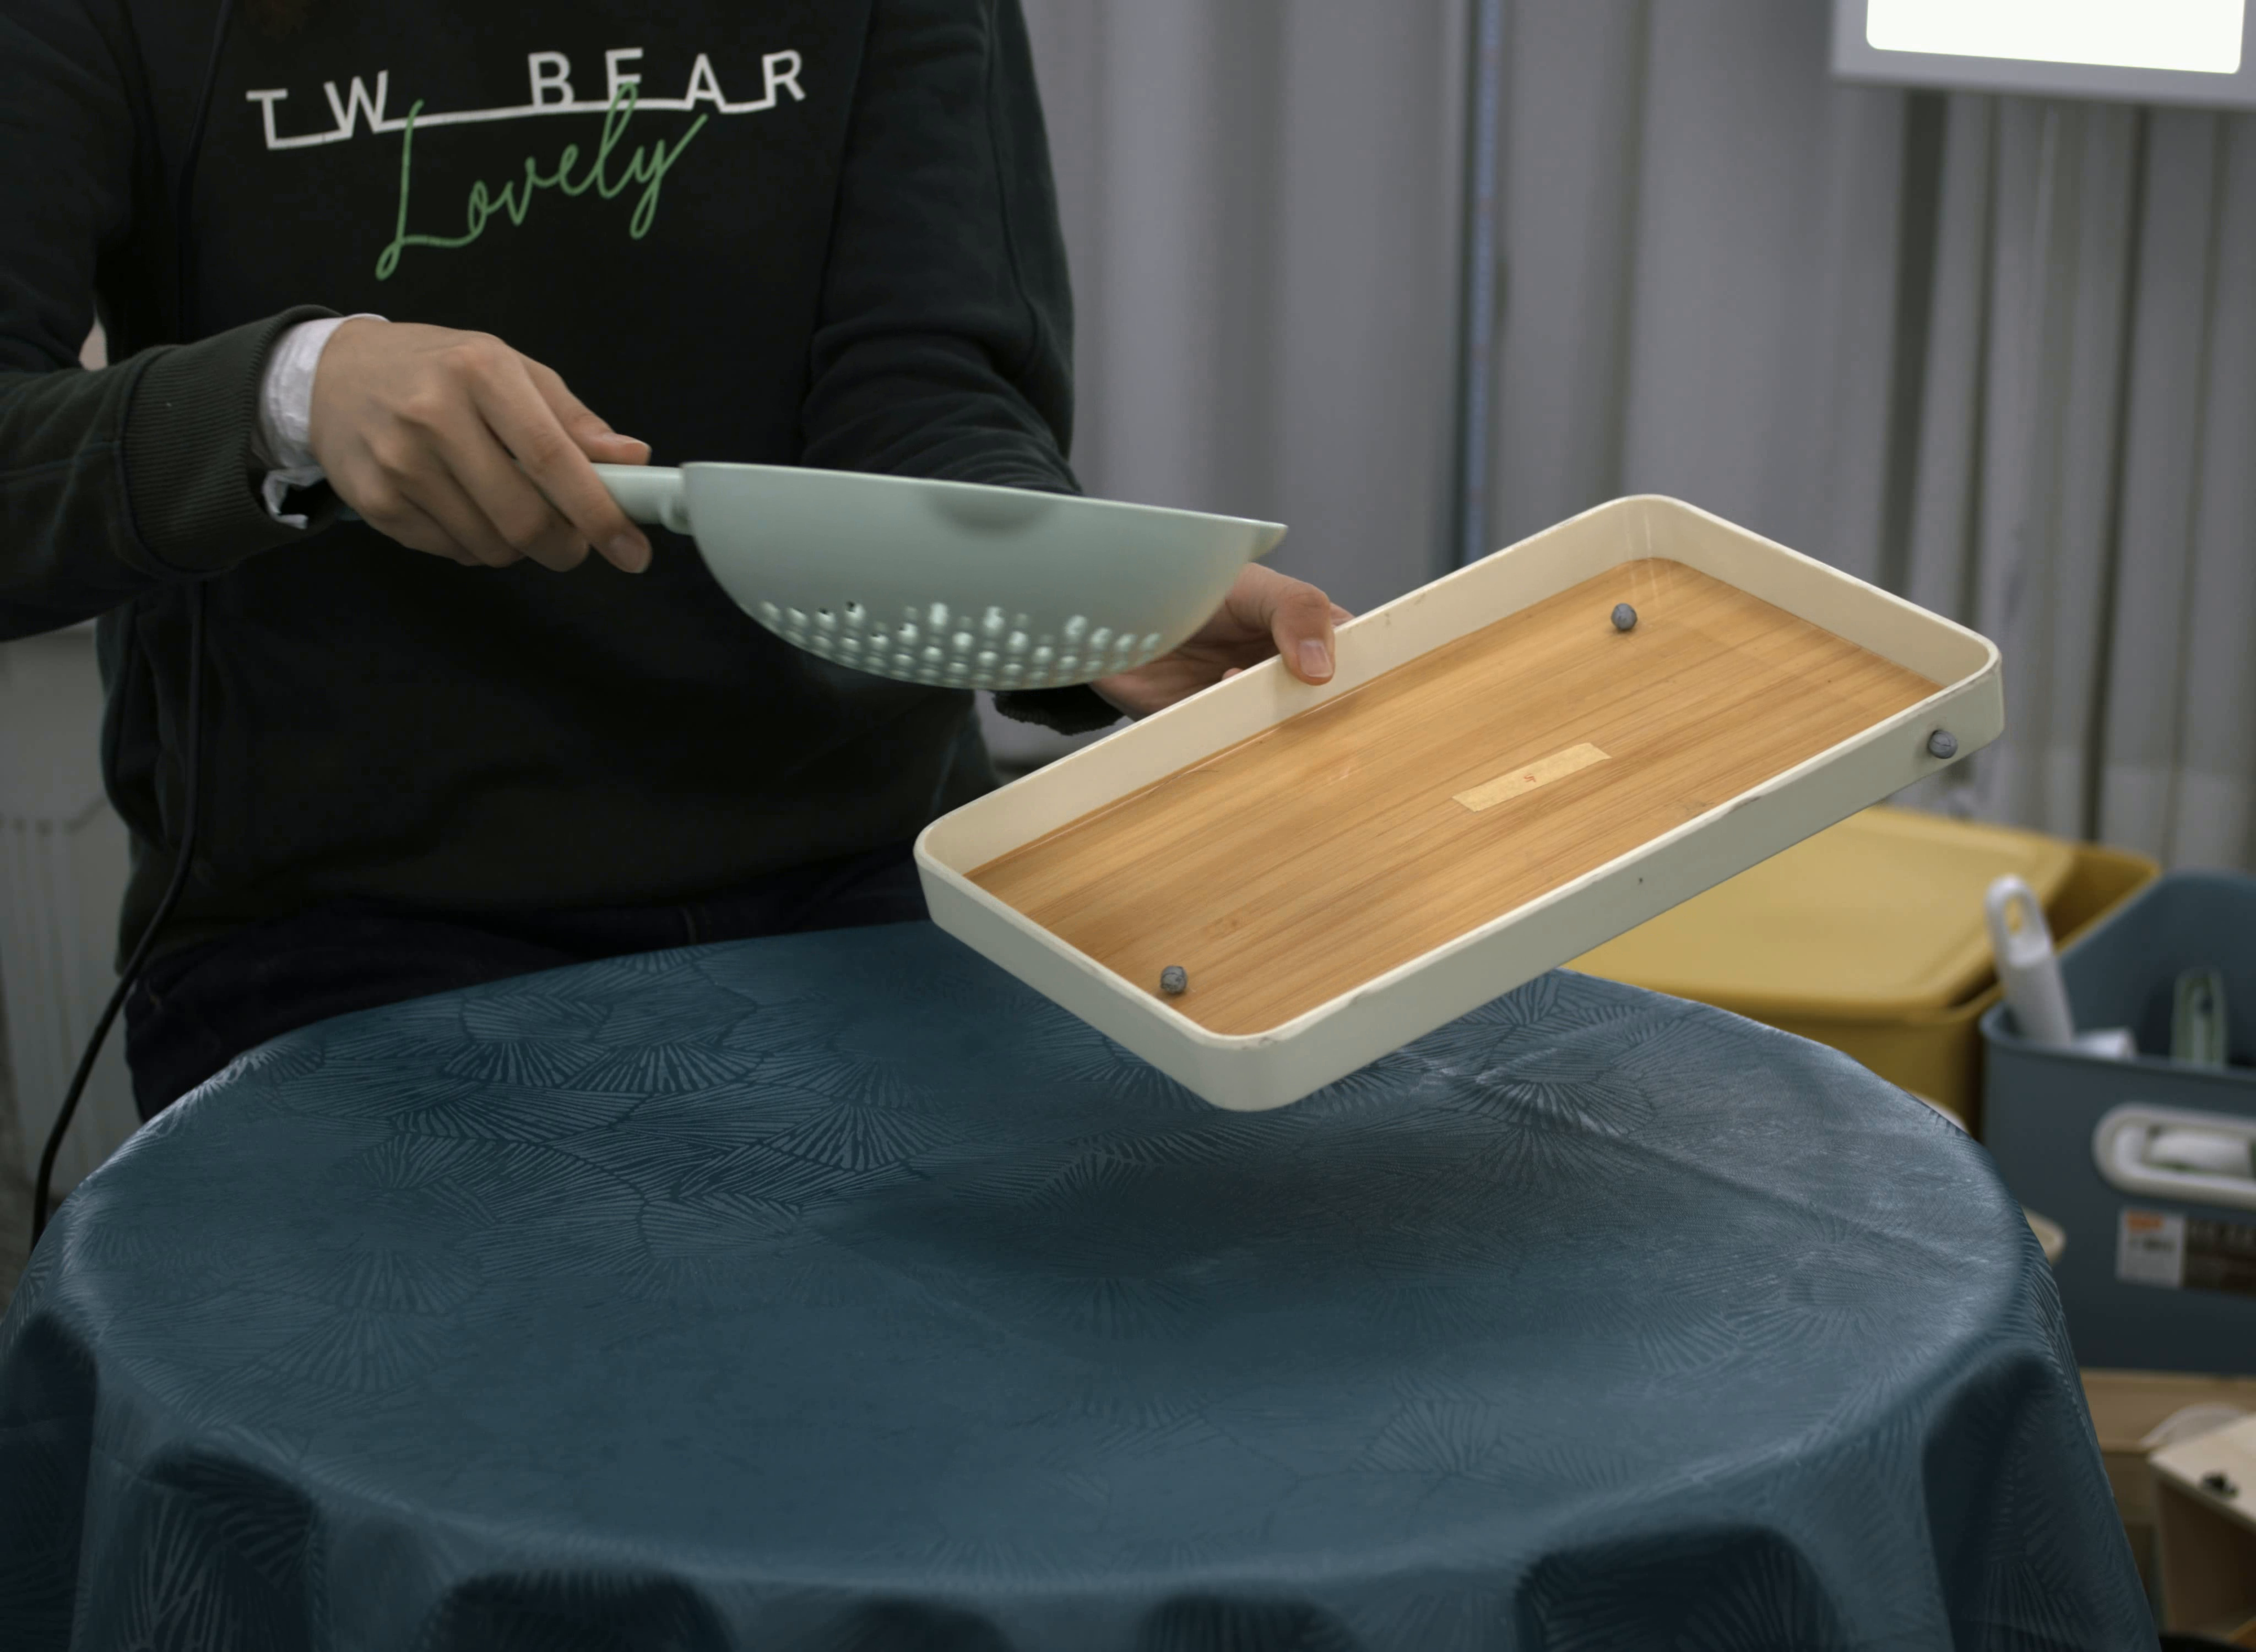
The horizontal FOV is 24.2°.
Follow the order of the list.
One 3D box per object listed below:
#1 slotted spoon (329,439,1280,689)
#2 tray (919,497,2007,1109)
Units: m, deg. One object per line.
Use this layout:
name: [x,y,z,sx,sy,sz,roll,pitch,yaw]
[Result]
slotted spoon: [-0.122,-0.095,1.595,0.354,0.076,0.171,18,9,40]
tray: [0.104,-0.013,1.625,0.301,0.028,0.189,-25,33,-25]
